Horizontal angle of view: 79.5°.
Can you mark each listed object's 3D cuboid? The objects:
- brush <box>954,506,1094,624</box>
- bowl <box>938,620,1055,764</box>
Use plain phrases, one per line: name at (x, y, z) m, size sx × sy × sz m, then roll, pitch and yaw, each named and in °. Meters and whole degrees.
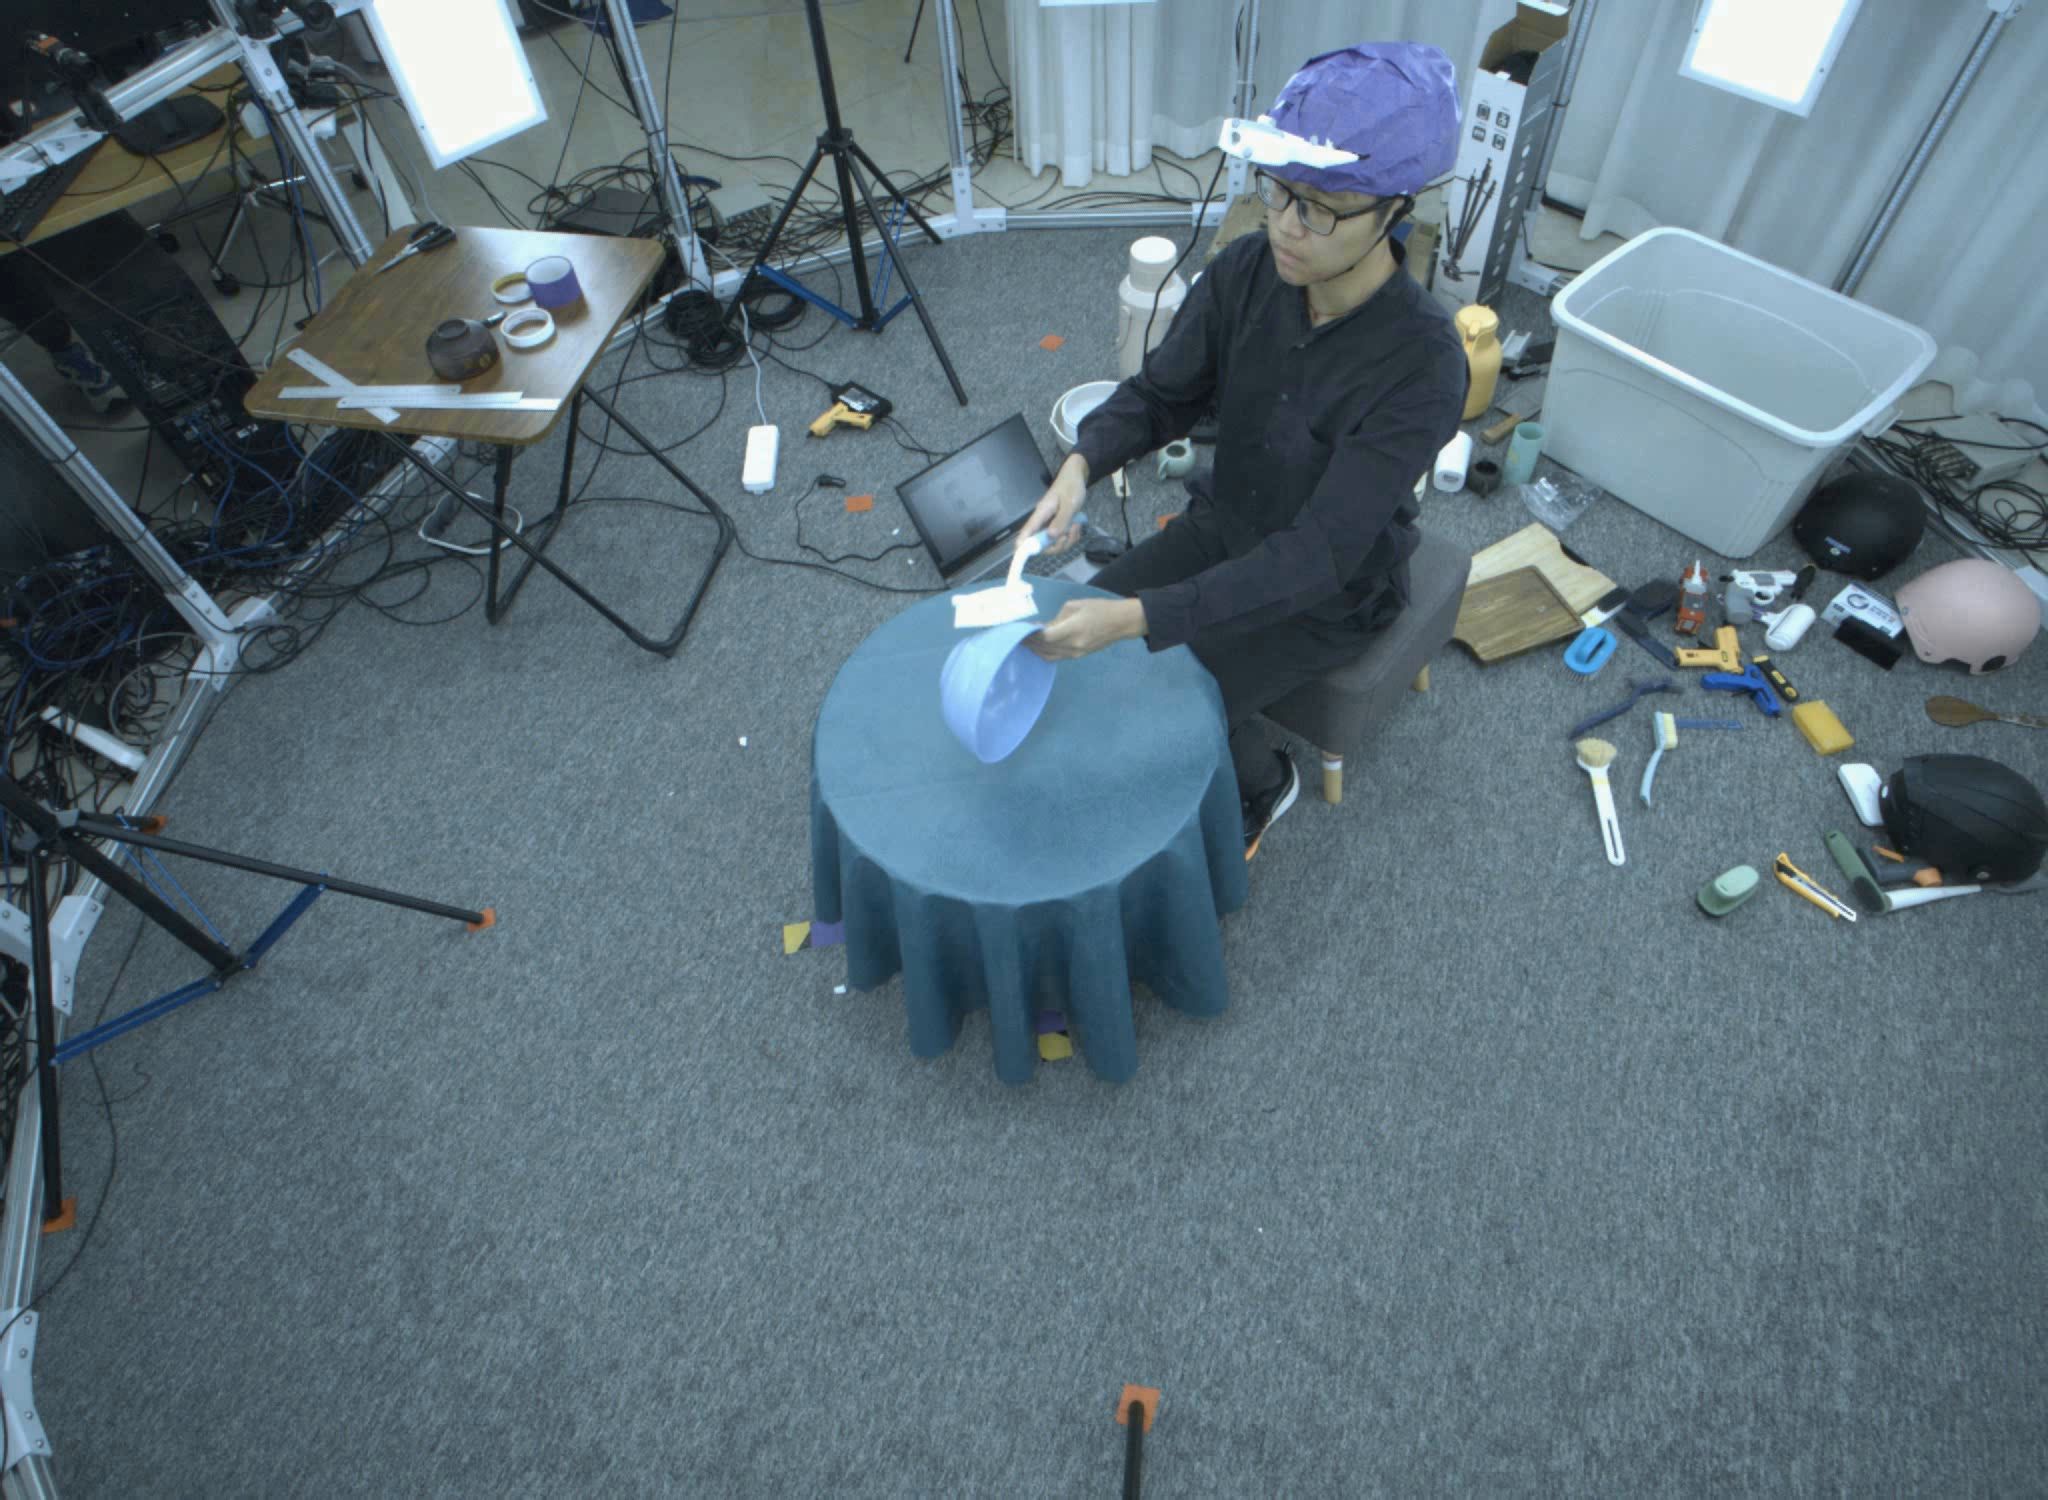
brush at (0.017, -0.235, 1.669) m, size 0.082 × 0.084 × 0.328 m, roll 35°, pitch 44°, yaw 14°
bowl at (-0.049, -0.090, 1.622) m, size 0.094 × 0.198 × 0.197 m, roll 26°, pitch 60°, yaw 20°
